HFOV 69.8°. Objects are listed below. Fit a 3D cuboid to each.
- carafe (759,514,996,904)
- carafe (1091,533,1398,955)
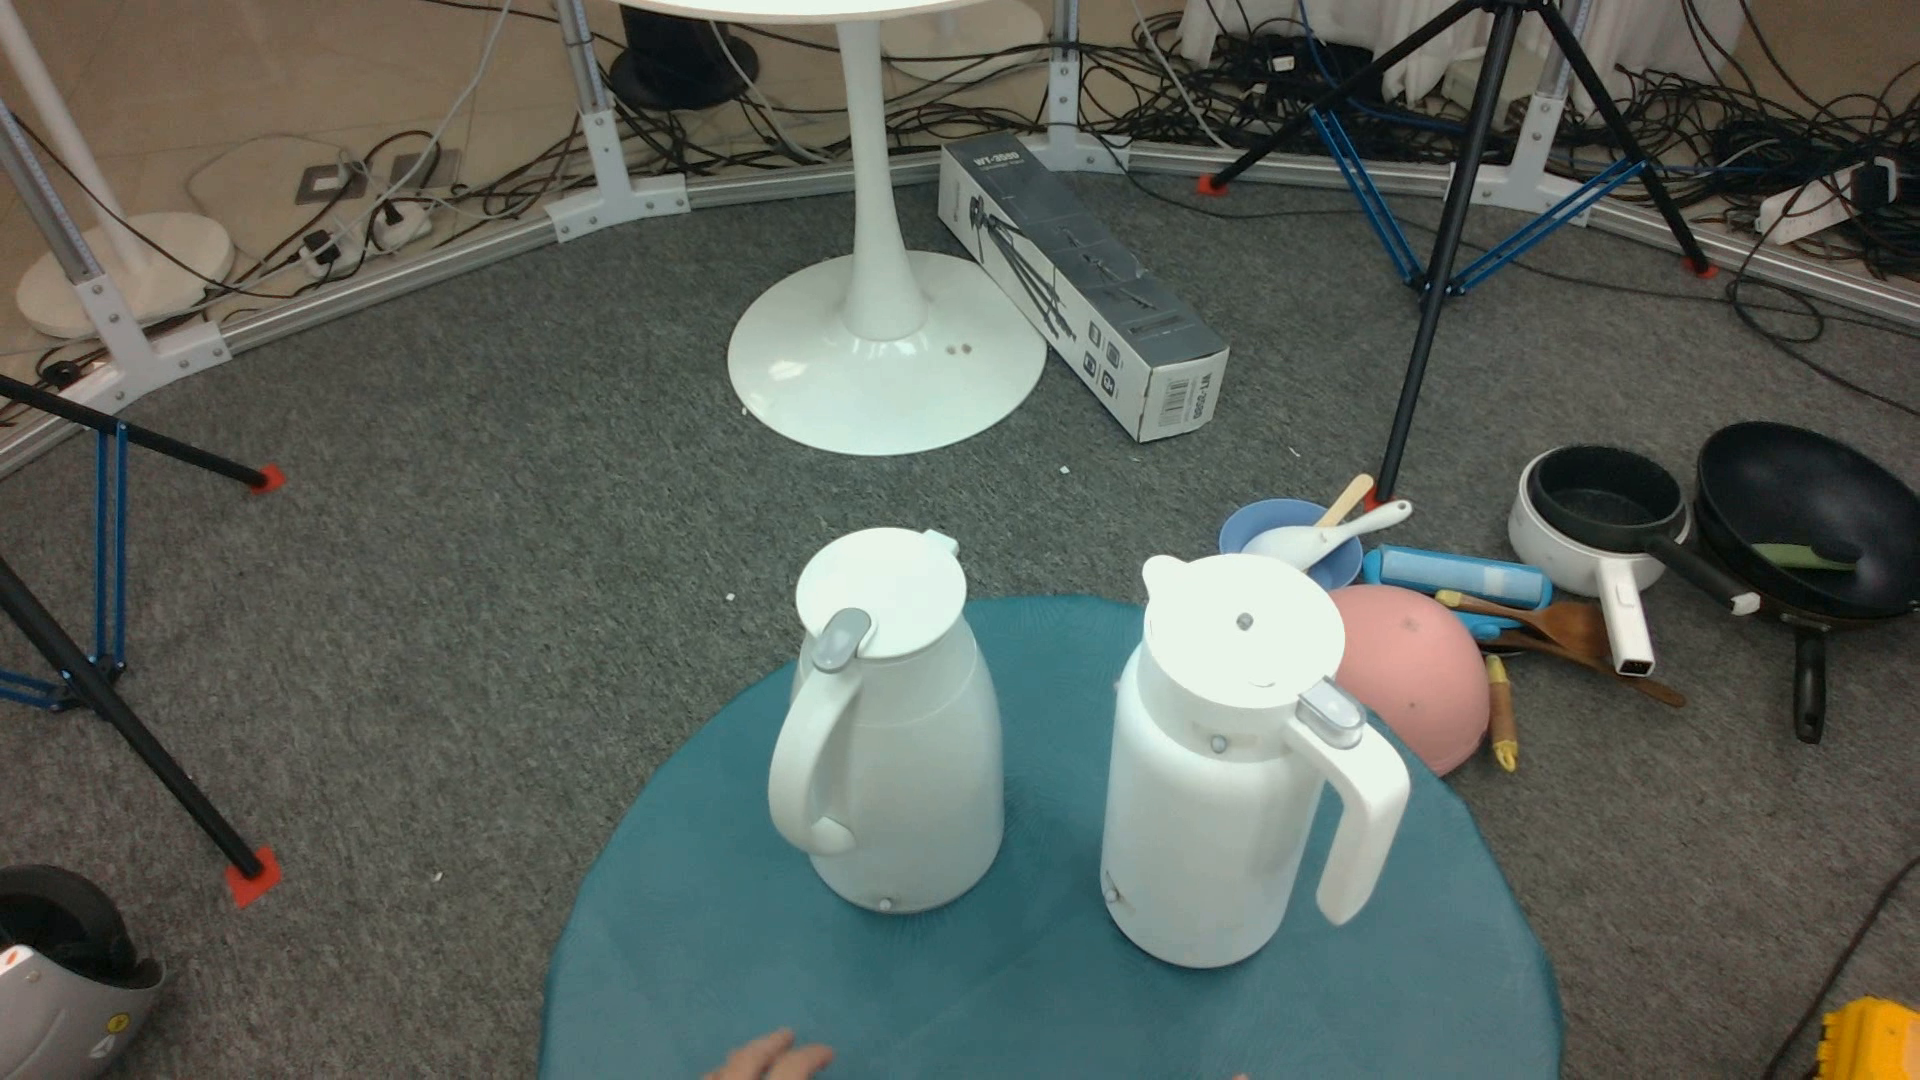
[{"bbox_3d":[-0.055,0.110,0.805,0.132,0.247,0.168,22,53,20],"label":"carafe"},{"bbox_3d":[0.150,0.133,0.769,0.124,0.267,0.173,-30,54,-26],"label":"carafe"}]
